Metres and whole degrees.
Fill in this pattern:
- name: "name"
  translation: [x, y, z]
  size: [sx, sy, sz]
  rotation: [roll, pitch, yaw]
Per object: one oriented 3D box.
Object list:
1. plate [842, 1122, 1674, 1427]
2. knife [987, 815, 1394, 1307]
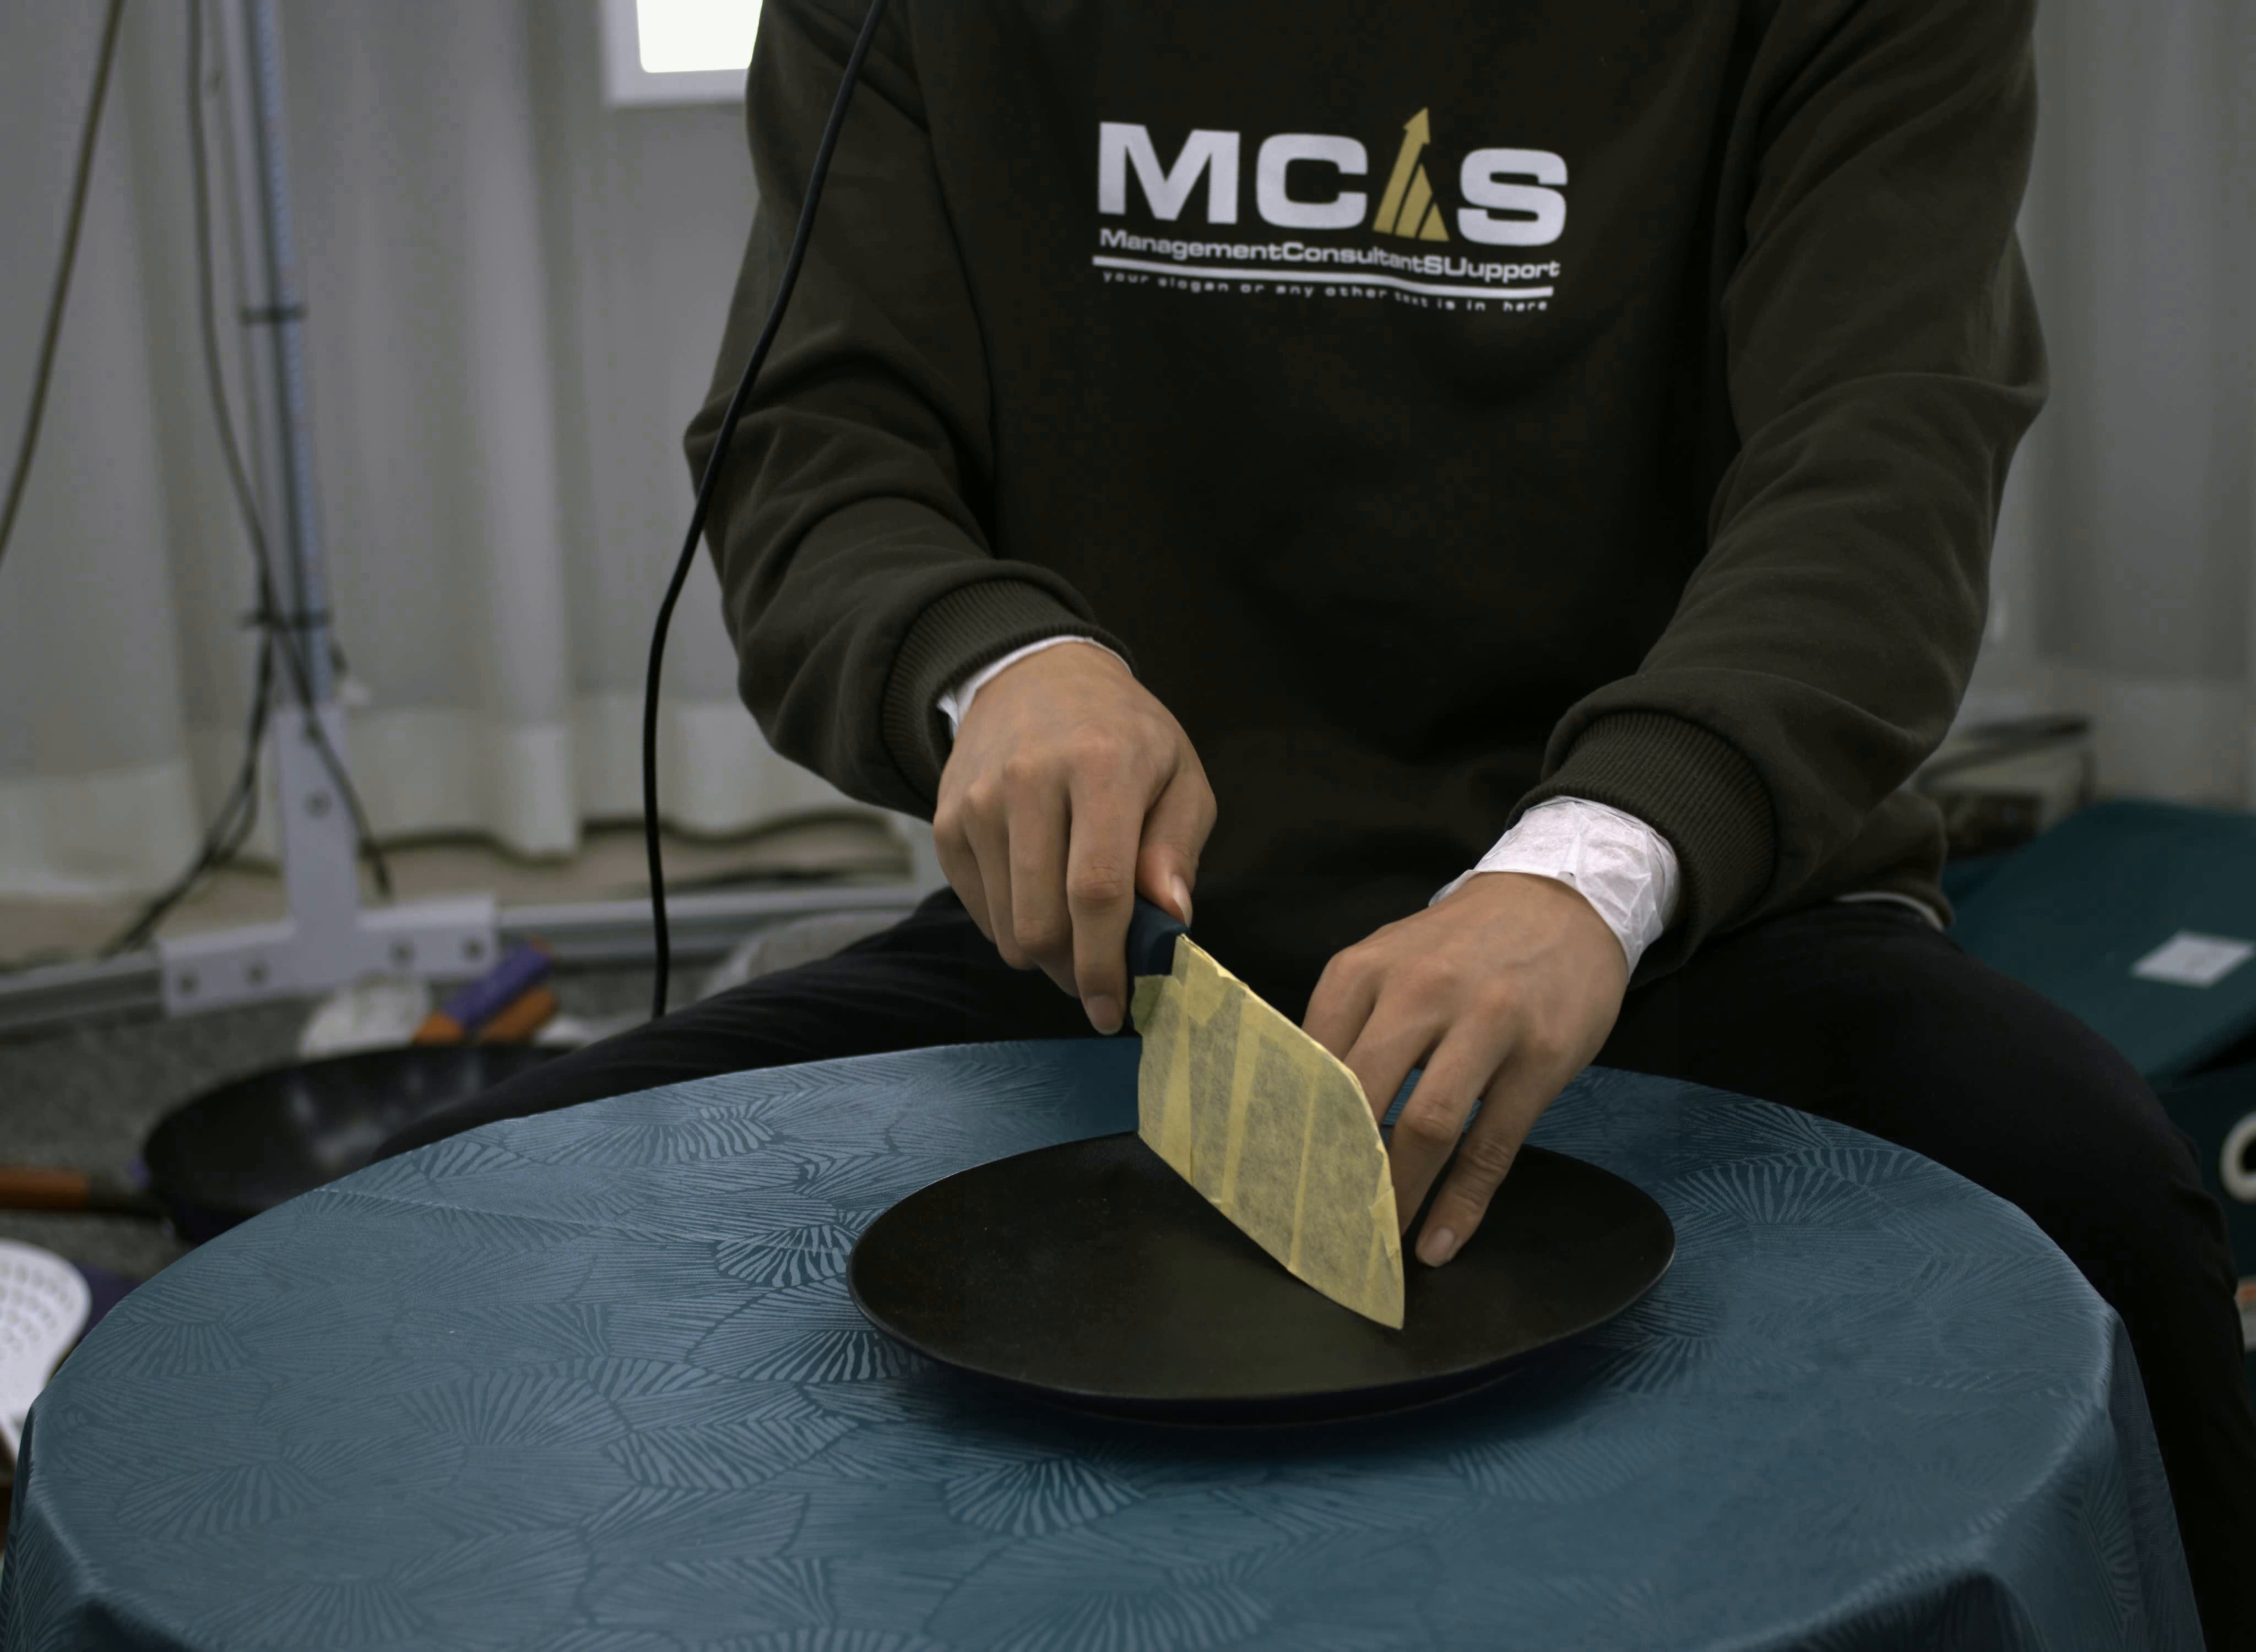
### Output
- name: "plate"
  translation: [0.038, 0.133, 1.596]
  size: [0.243, 0.023, 0.246]
  rotation: [-3, 15, 0]
- name: "knife"
  translation: [0.018, 0.067, 1.667]
  size: [0.027, 0.080, 0.293]
  rotation: [1, 22, -25]
